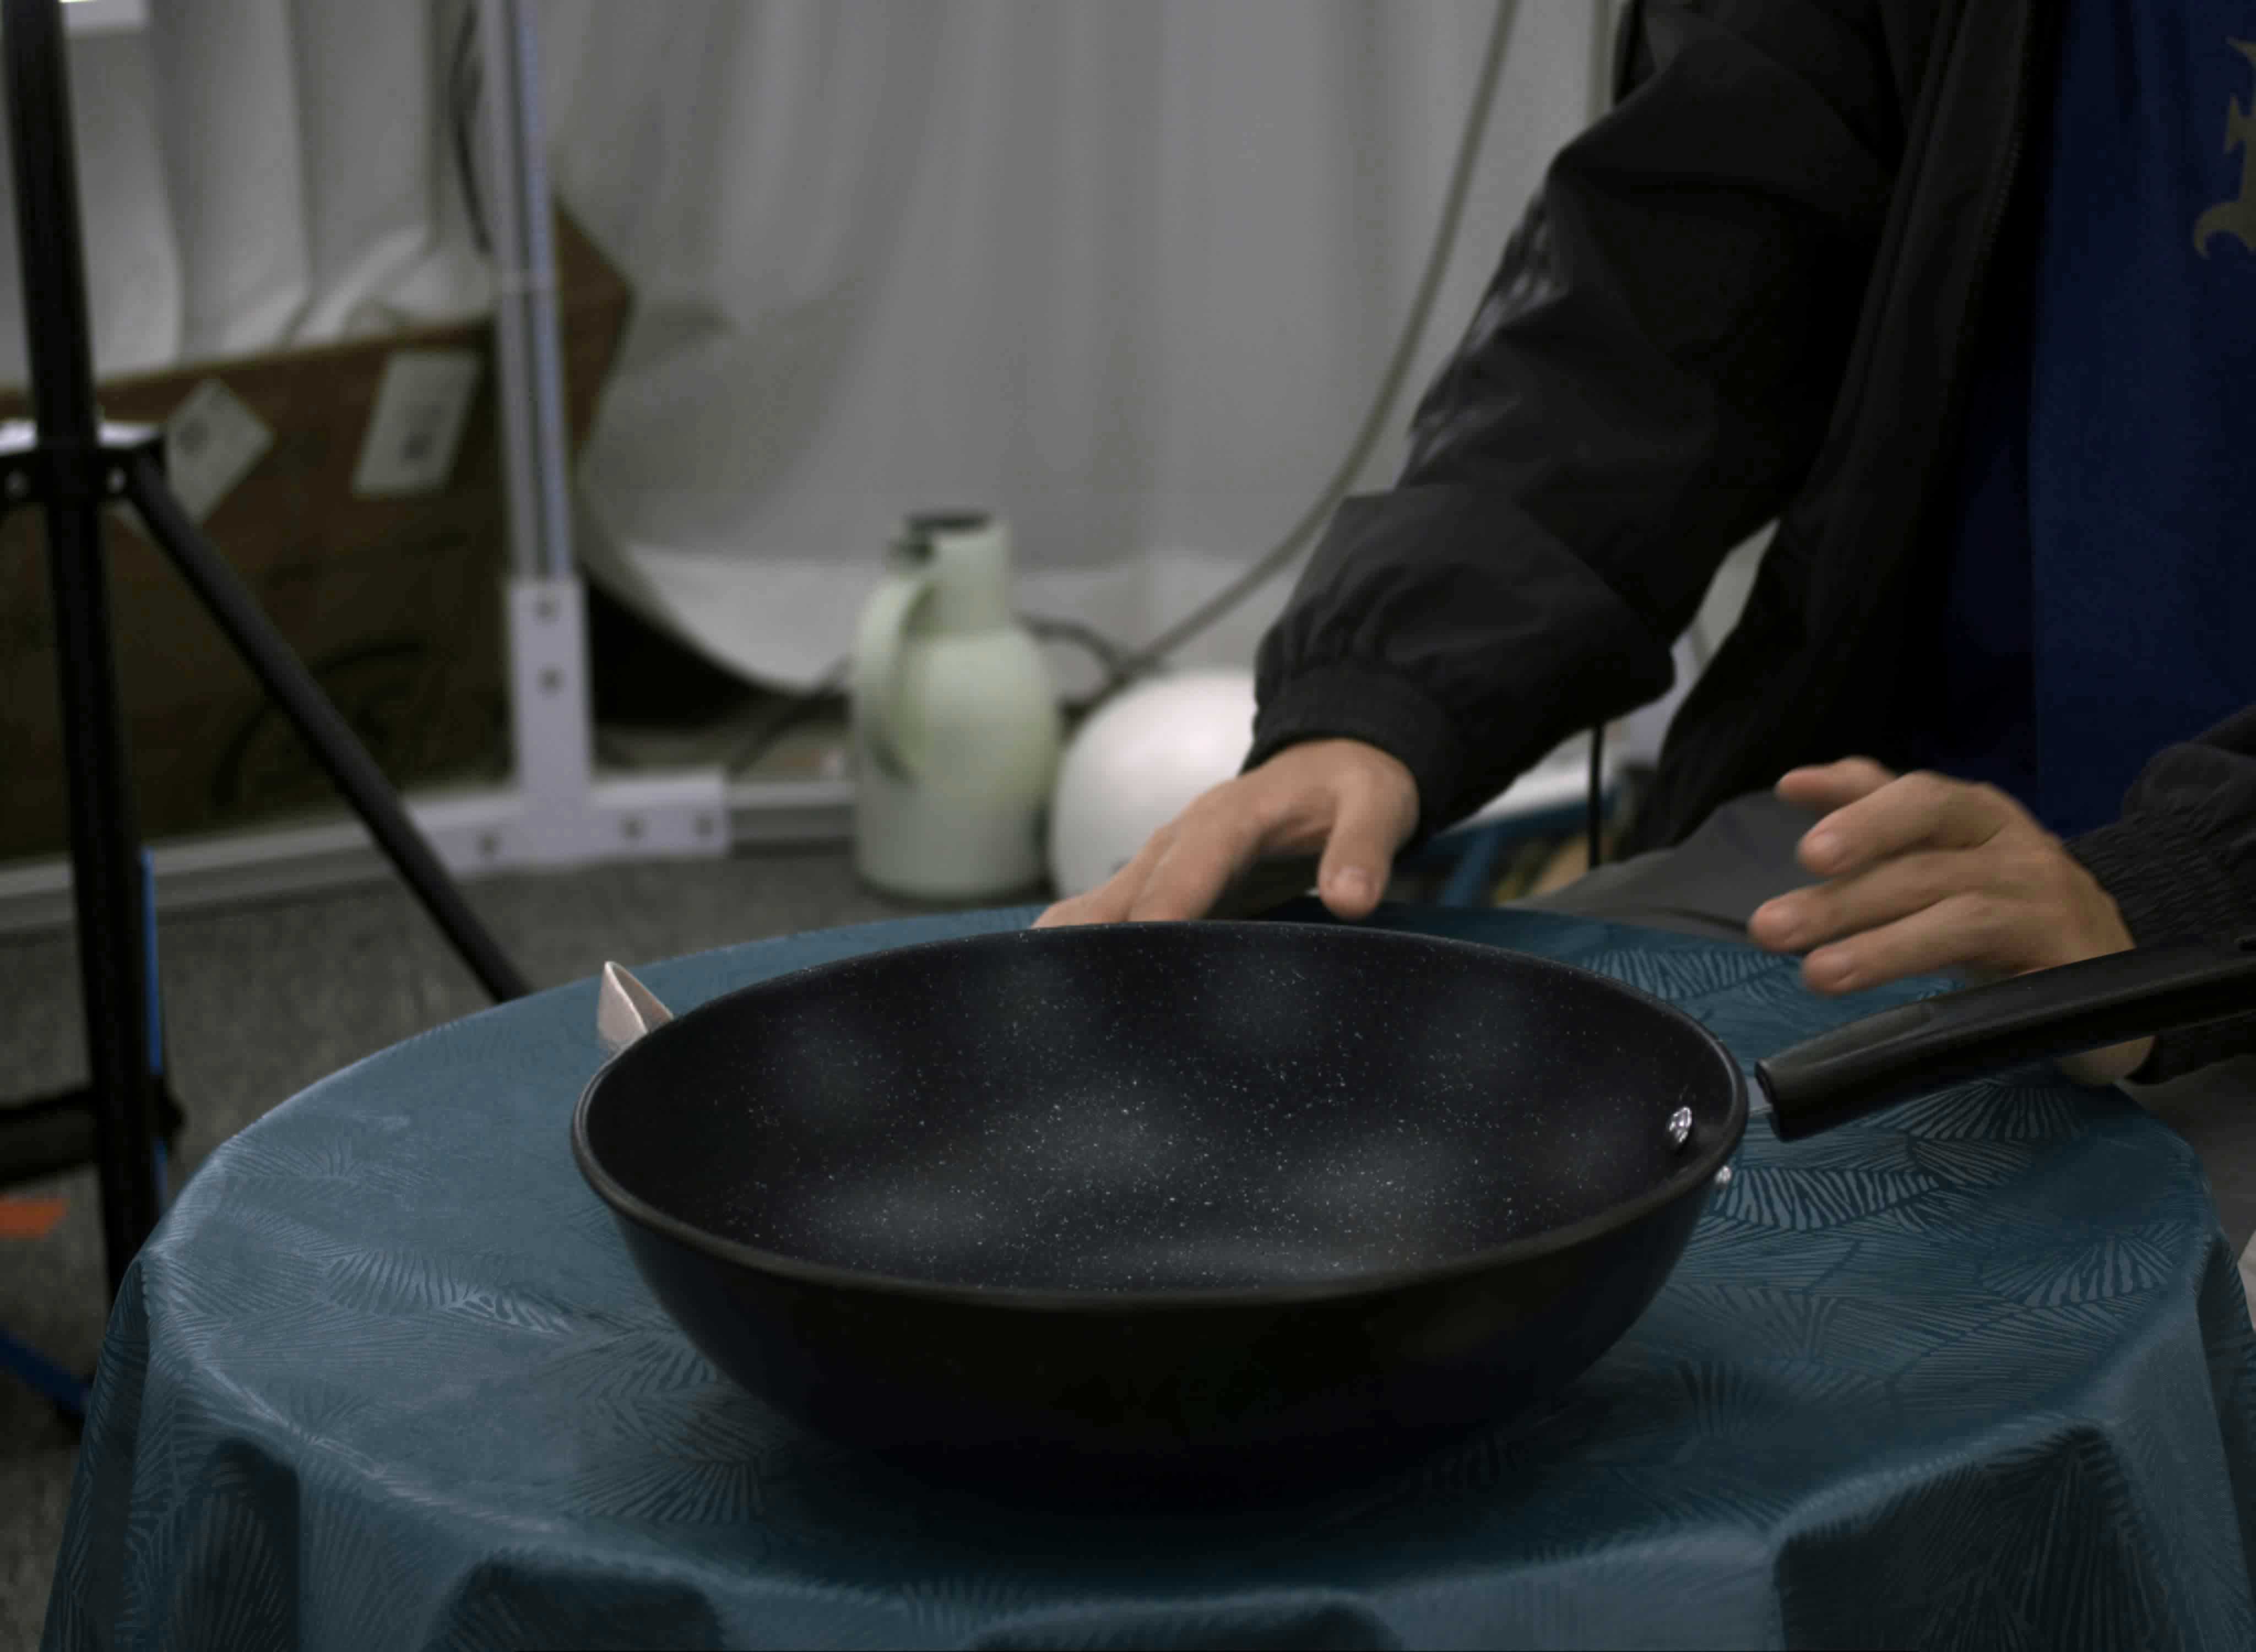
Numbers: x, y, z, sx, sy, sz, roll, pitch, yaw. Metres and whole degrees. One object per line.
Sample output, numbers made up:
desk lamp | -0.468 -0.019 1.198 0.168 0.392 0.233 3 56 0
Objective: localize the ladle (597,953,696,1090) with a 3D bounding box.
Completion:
ladle | -0.023 0.063 1.597 0.271 0.069 0.090 -4 8 -12

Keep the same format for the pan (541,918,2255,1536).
pan | 0.085 0.096 1.394 0.474 0.111 0.312 -4 17 -2
